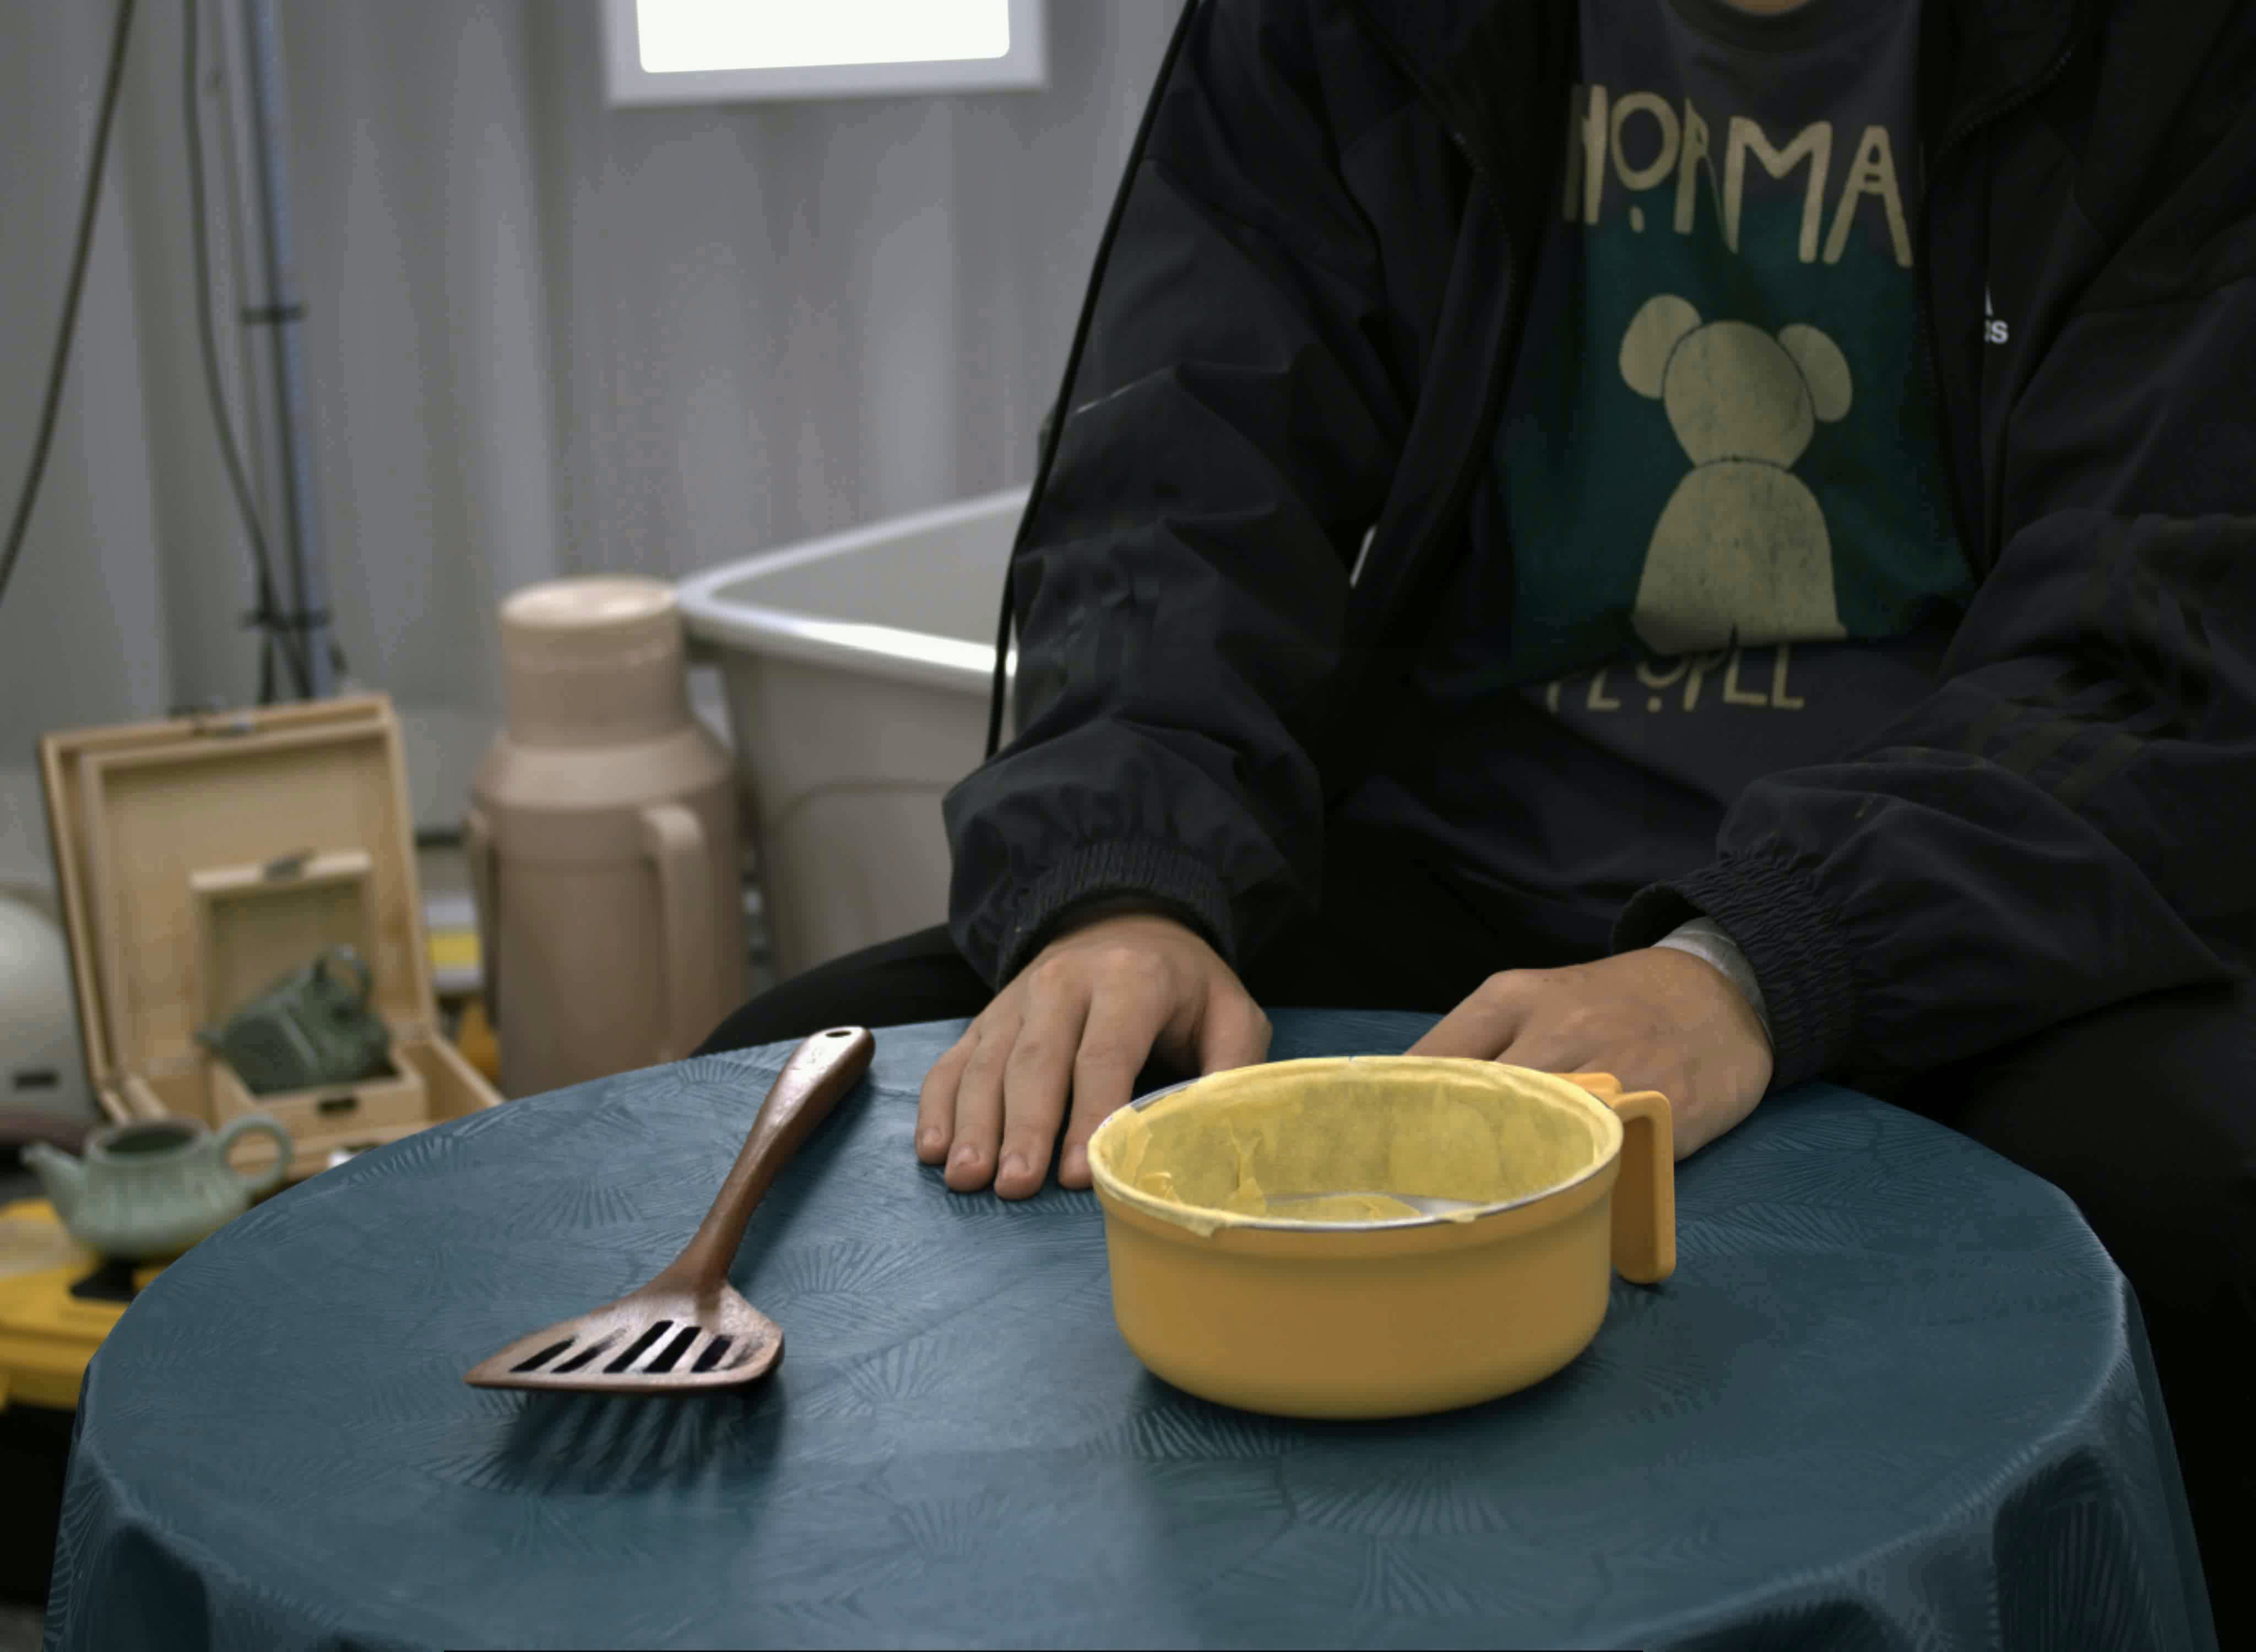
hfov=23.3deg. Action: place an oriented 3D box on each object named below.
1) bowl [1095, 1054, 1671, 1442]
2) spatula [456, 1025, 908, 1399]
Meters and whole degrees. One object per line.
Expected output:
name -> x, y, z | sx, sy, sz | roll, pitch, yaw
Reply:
bowl -> 0.079, 0.120, 1.561 | 0.179, 0.074, 0.154 | -14, 20, -35
spatula -> -0.117, 0.119, 1.682 | 0.085, 0.024, 0.388 | 0, 14, 10
